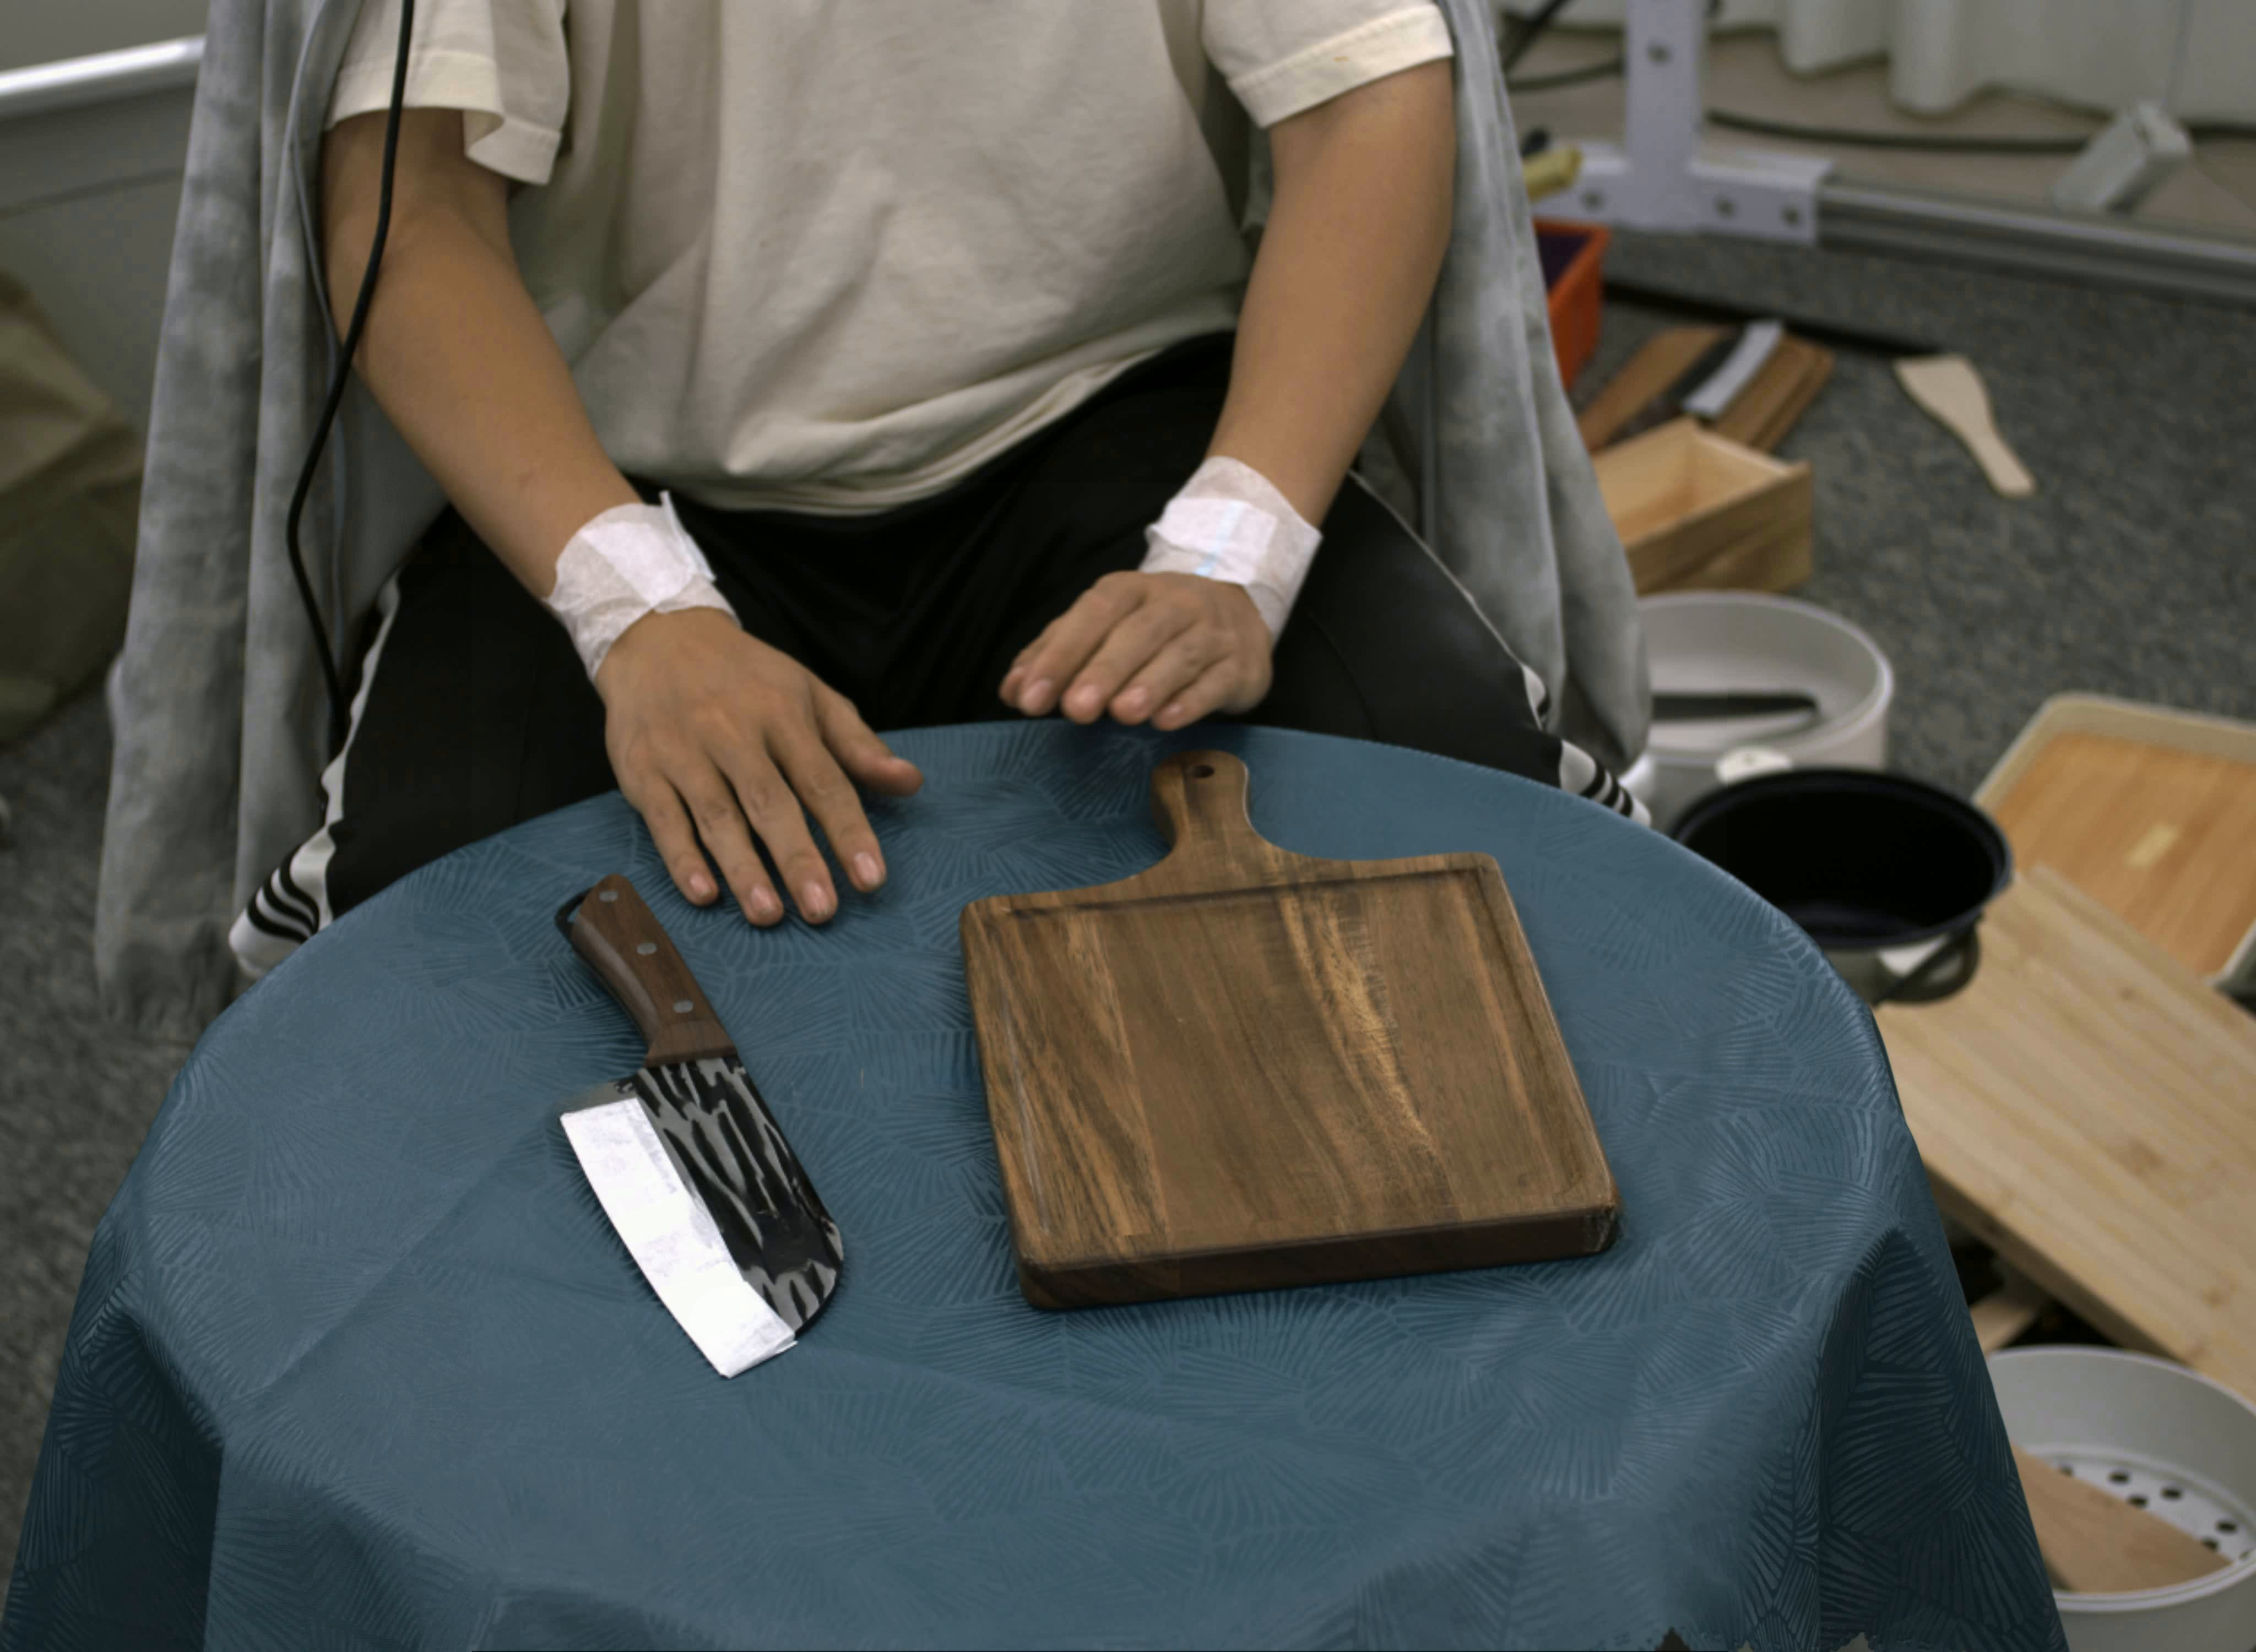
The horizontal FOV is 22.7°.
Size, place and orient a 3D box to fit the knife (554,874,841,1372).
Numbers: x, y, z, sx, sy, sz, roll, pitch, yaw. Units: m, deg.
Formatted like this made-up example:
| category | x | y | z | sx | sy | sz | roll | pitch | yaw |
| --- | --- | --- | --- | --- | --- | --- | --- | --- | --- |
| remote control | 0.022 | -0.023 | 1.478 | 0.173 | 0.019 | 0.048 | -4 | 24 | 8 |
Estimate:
| category | x | y | z | sx | sy | sz | roll | pitch | yaw |
| --- | --- | --- | --- | --- | --- | --- | --- | --- | --- |
| knife | -0.155 | 0.098 | 1.900 | 0.068 | 0.023 | 0.302 | -13 | 31 | -15 |

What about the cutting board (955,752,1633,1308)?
| category | x | y | z | sx | sy | sz | roll | pitch | yaw |
| --- | --- | --- | --- | --- | --- | --- | --- | --- | --- |
| cutting board | 0.045 | 0.059 | 1.954 | 0.200 | 0.023 | 0.357 | -5 | 27 | -5 |
